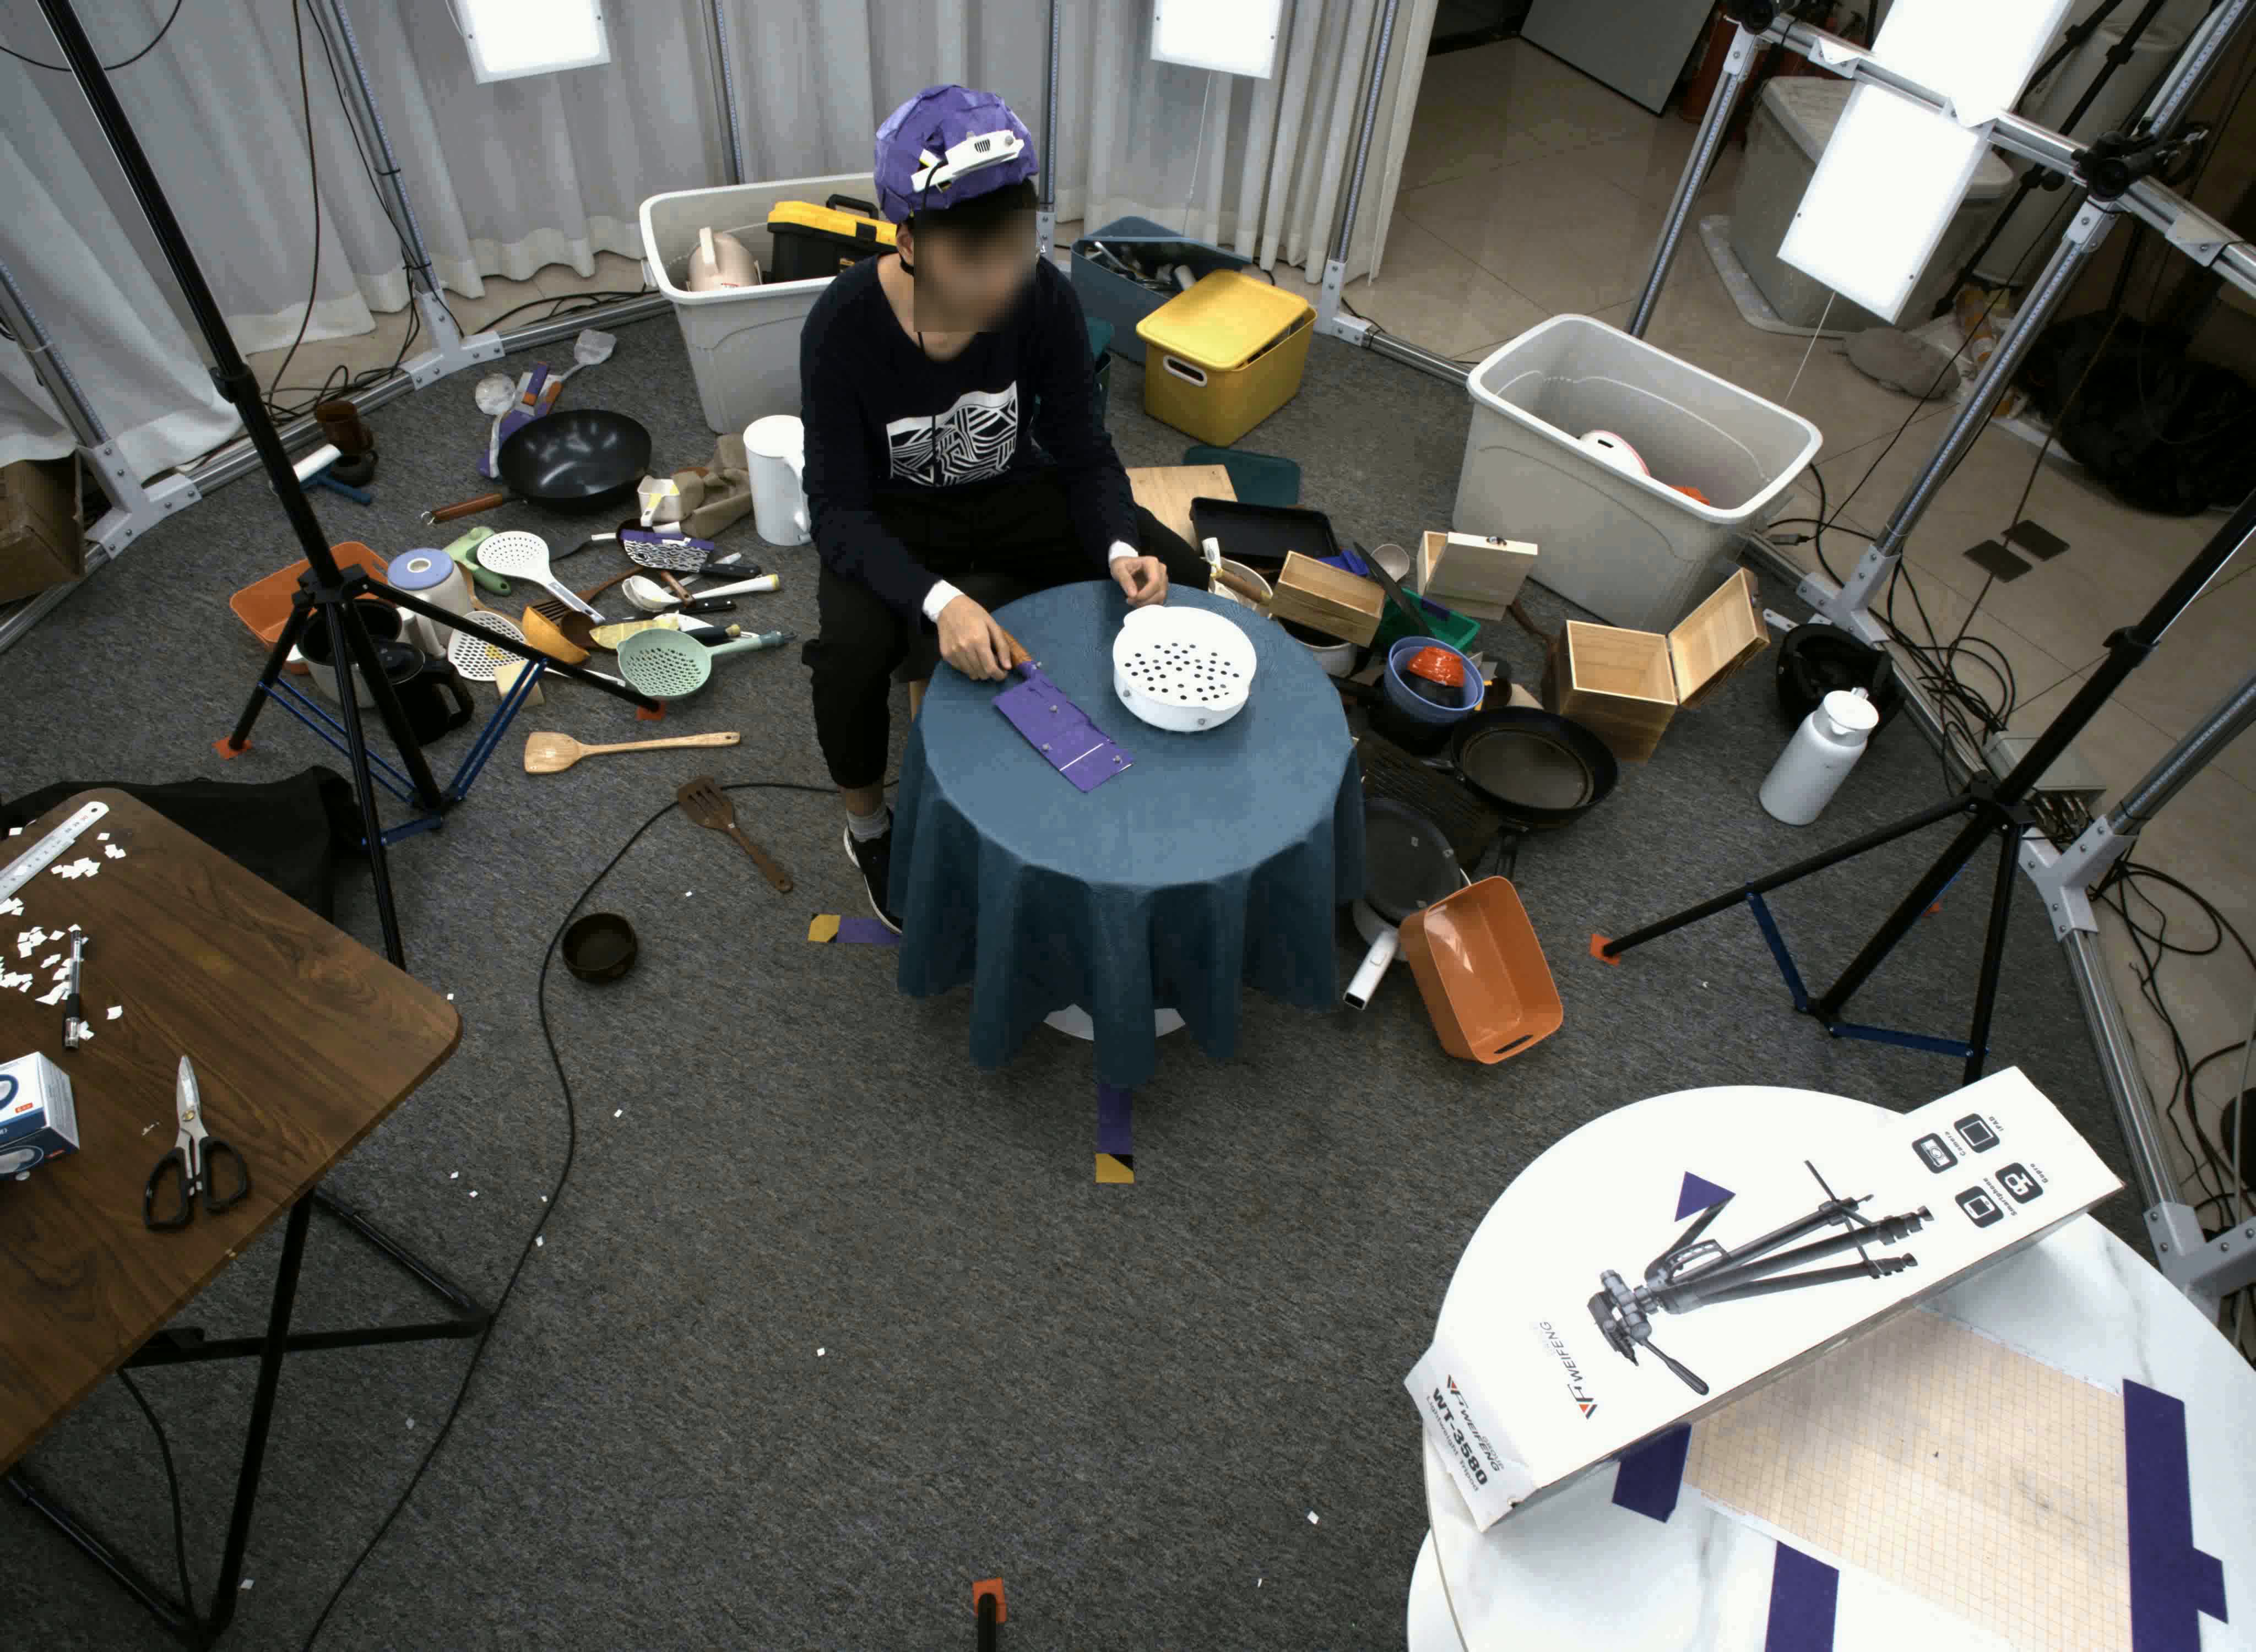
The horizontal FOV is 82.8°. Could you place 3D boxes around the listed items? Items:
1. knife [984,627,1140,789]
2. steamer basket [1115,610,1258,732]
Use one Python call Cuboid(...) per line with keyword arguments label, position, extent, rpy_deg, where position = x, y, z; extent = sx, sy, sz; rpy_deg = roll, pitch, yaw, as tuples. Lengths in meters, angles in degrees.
Cuboid(label="knife", position=(-0.121, -0.168, 1.787), extent=(0.104, 0.031, 0.320), rpy_deg=(-31, 58, -27))
Cuboid(label="steamer basket", position=(0.081, -0.218, 1.819), extent=(0.203, 0.067, 0.235), rpy_deg=(-25, 52, -24))
